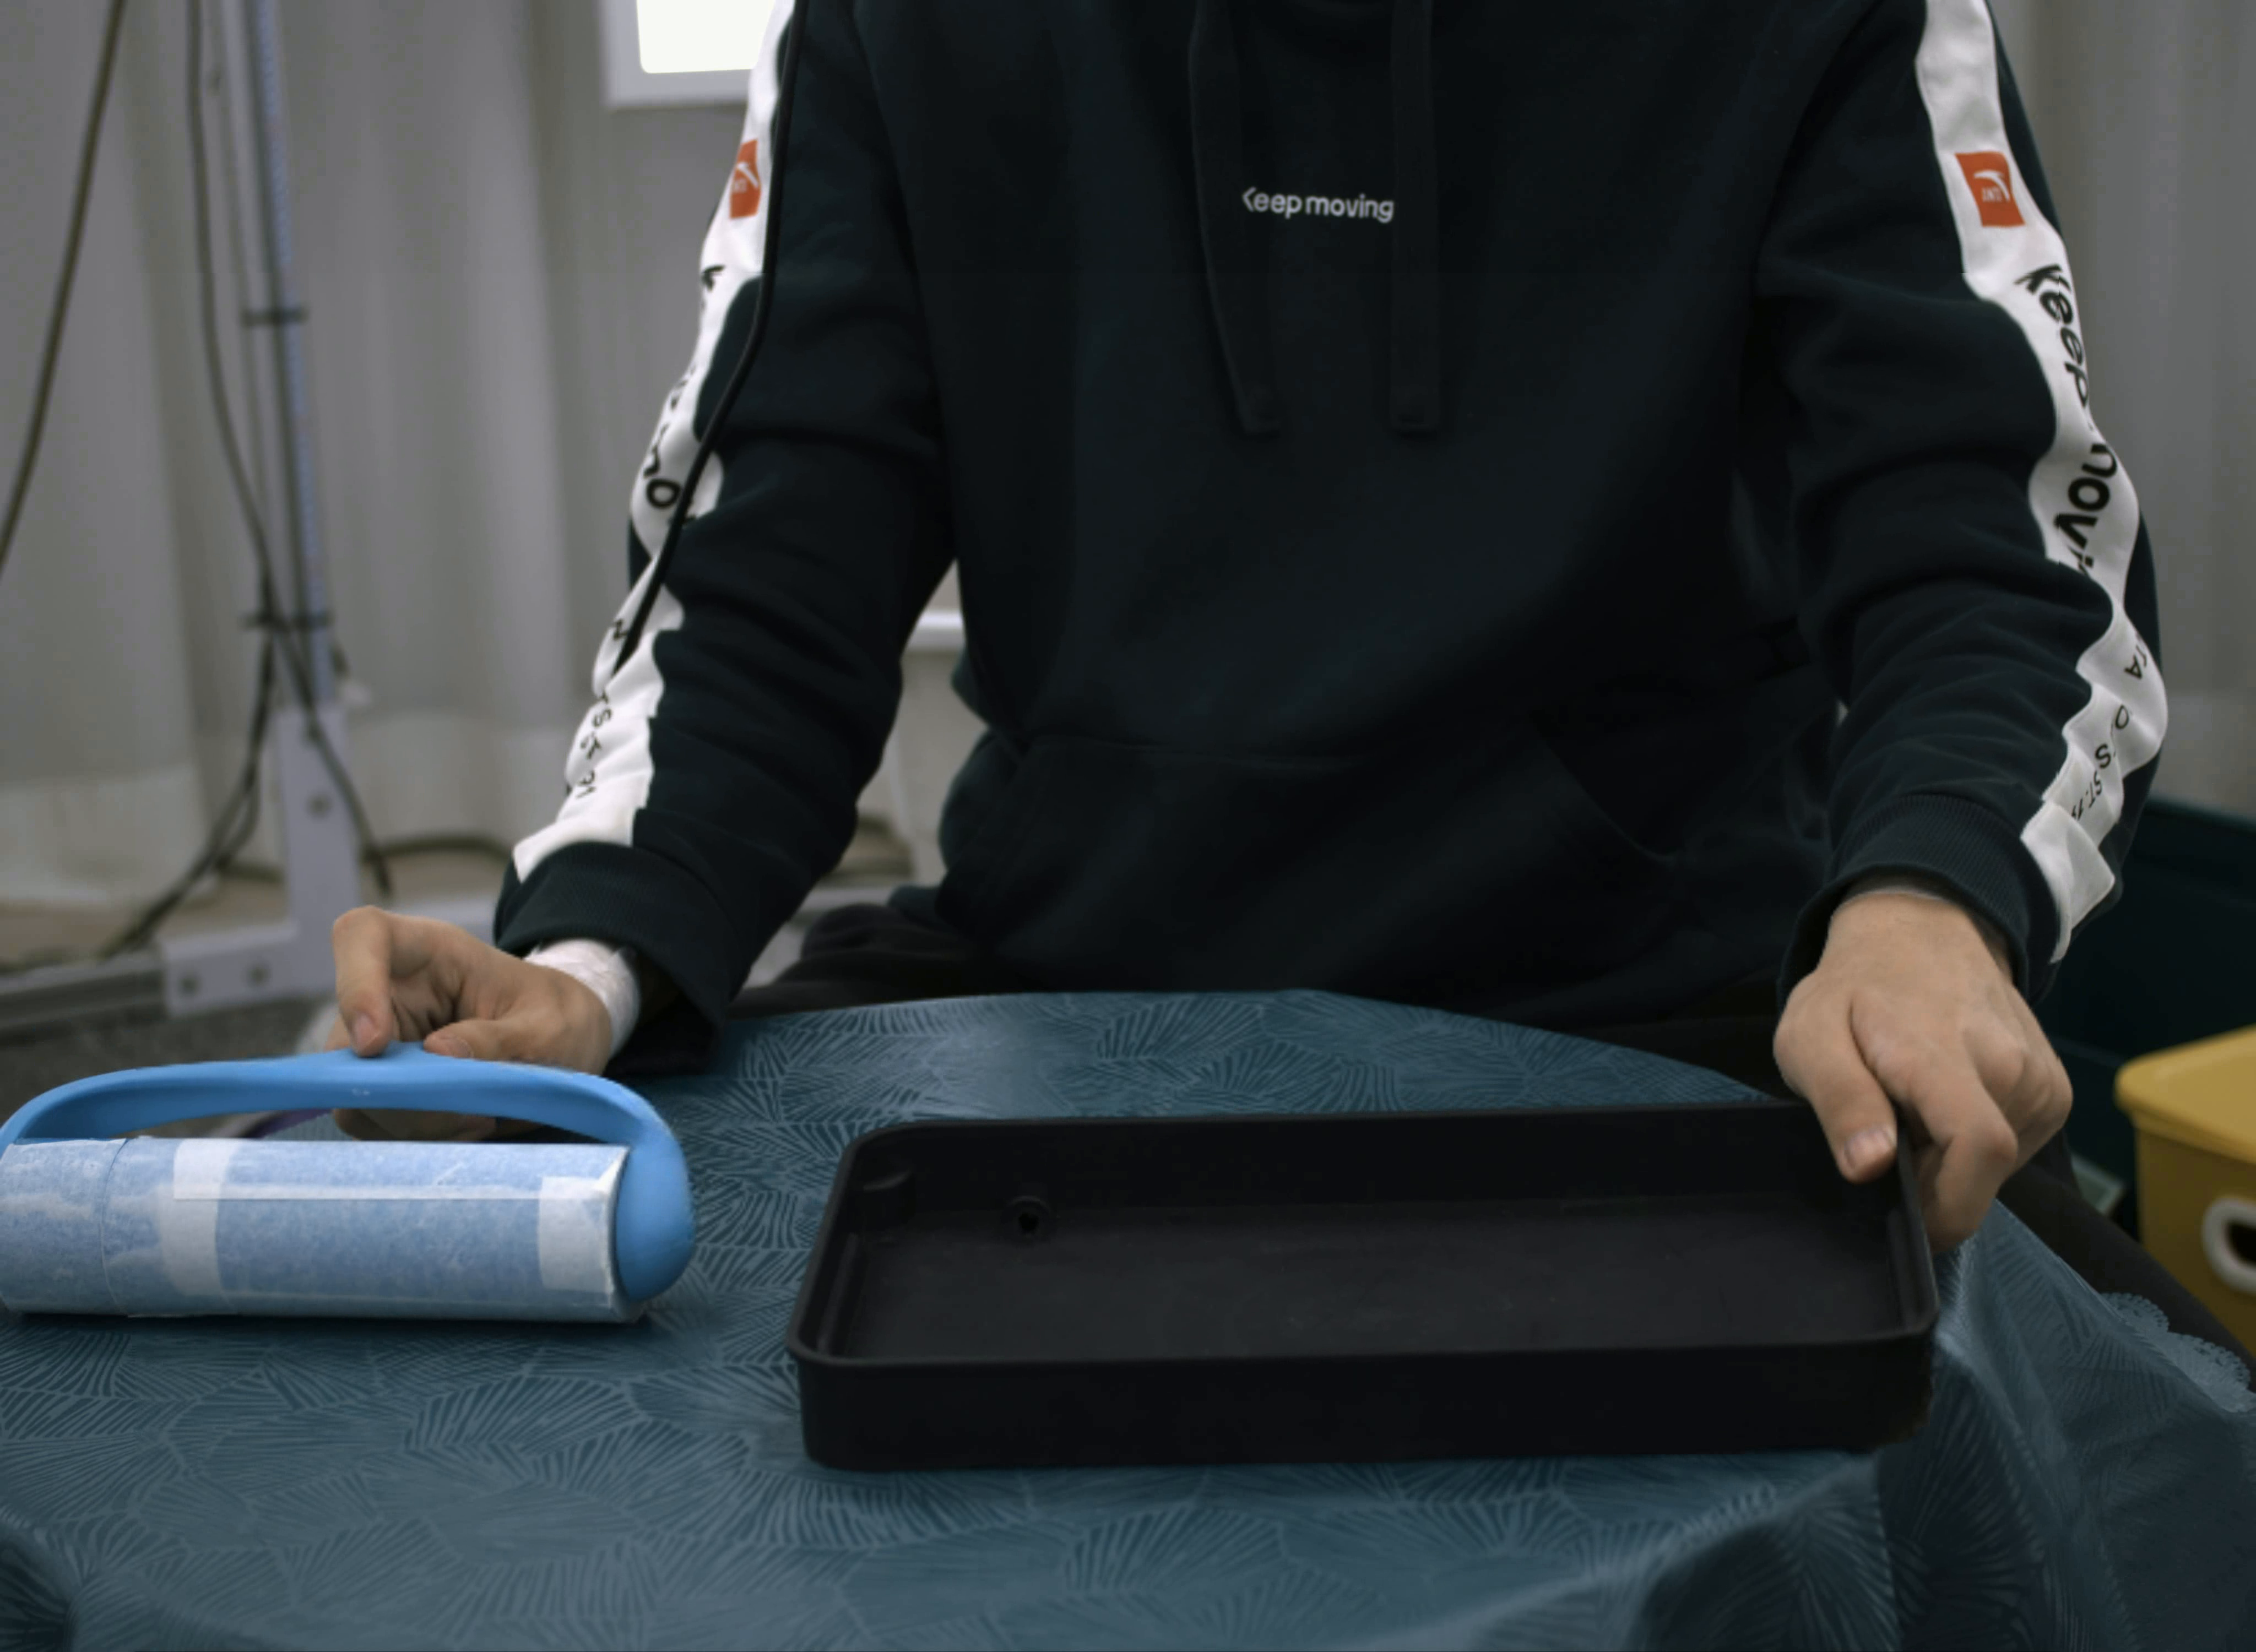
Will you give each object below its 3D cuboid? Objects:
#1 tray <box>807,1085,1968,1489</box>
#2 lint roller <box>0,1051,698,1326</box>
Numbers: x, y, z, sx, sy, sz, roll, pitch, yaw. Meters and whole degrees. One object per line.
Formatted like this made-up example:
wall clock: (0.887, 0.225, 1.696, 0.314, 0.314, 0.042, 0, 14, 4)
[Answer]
tray: (0.074, 0.129, 1.560, 0.317, 0.037, 0.186, -3, 18, 4)
lint roller: (-0.232, 0.101, 1.691, 0.228, 0.067, 0.181, -3, 19, 10)
